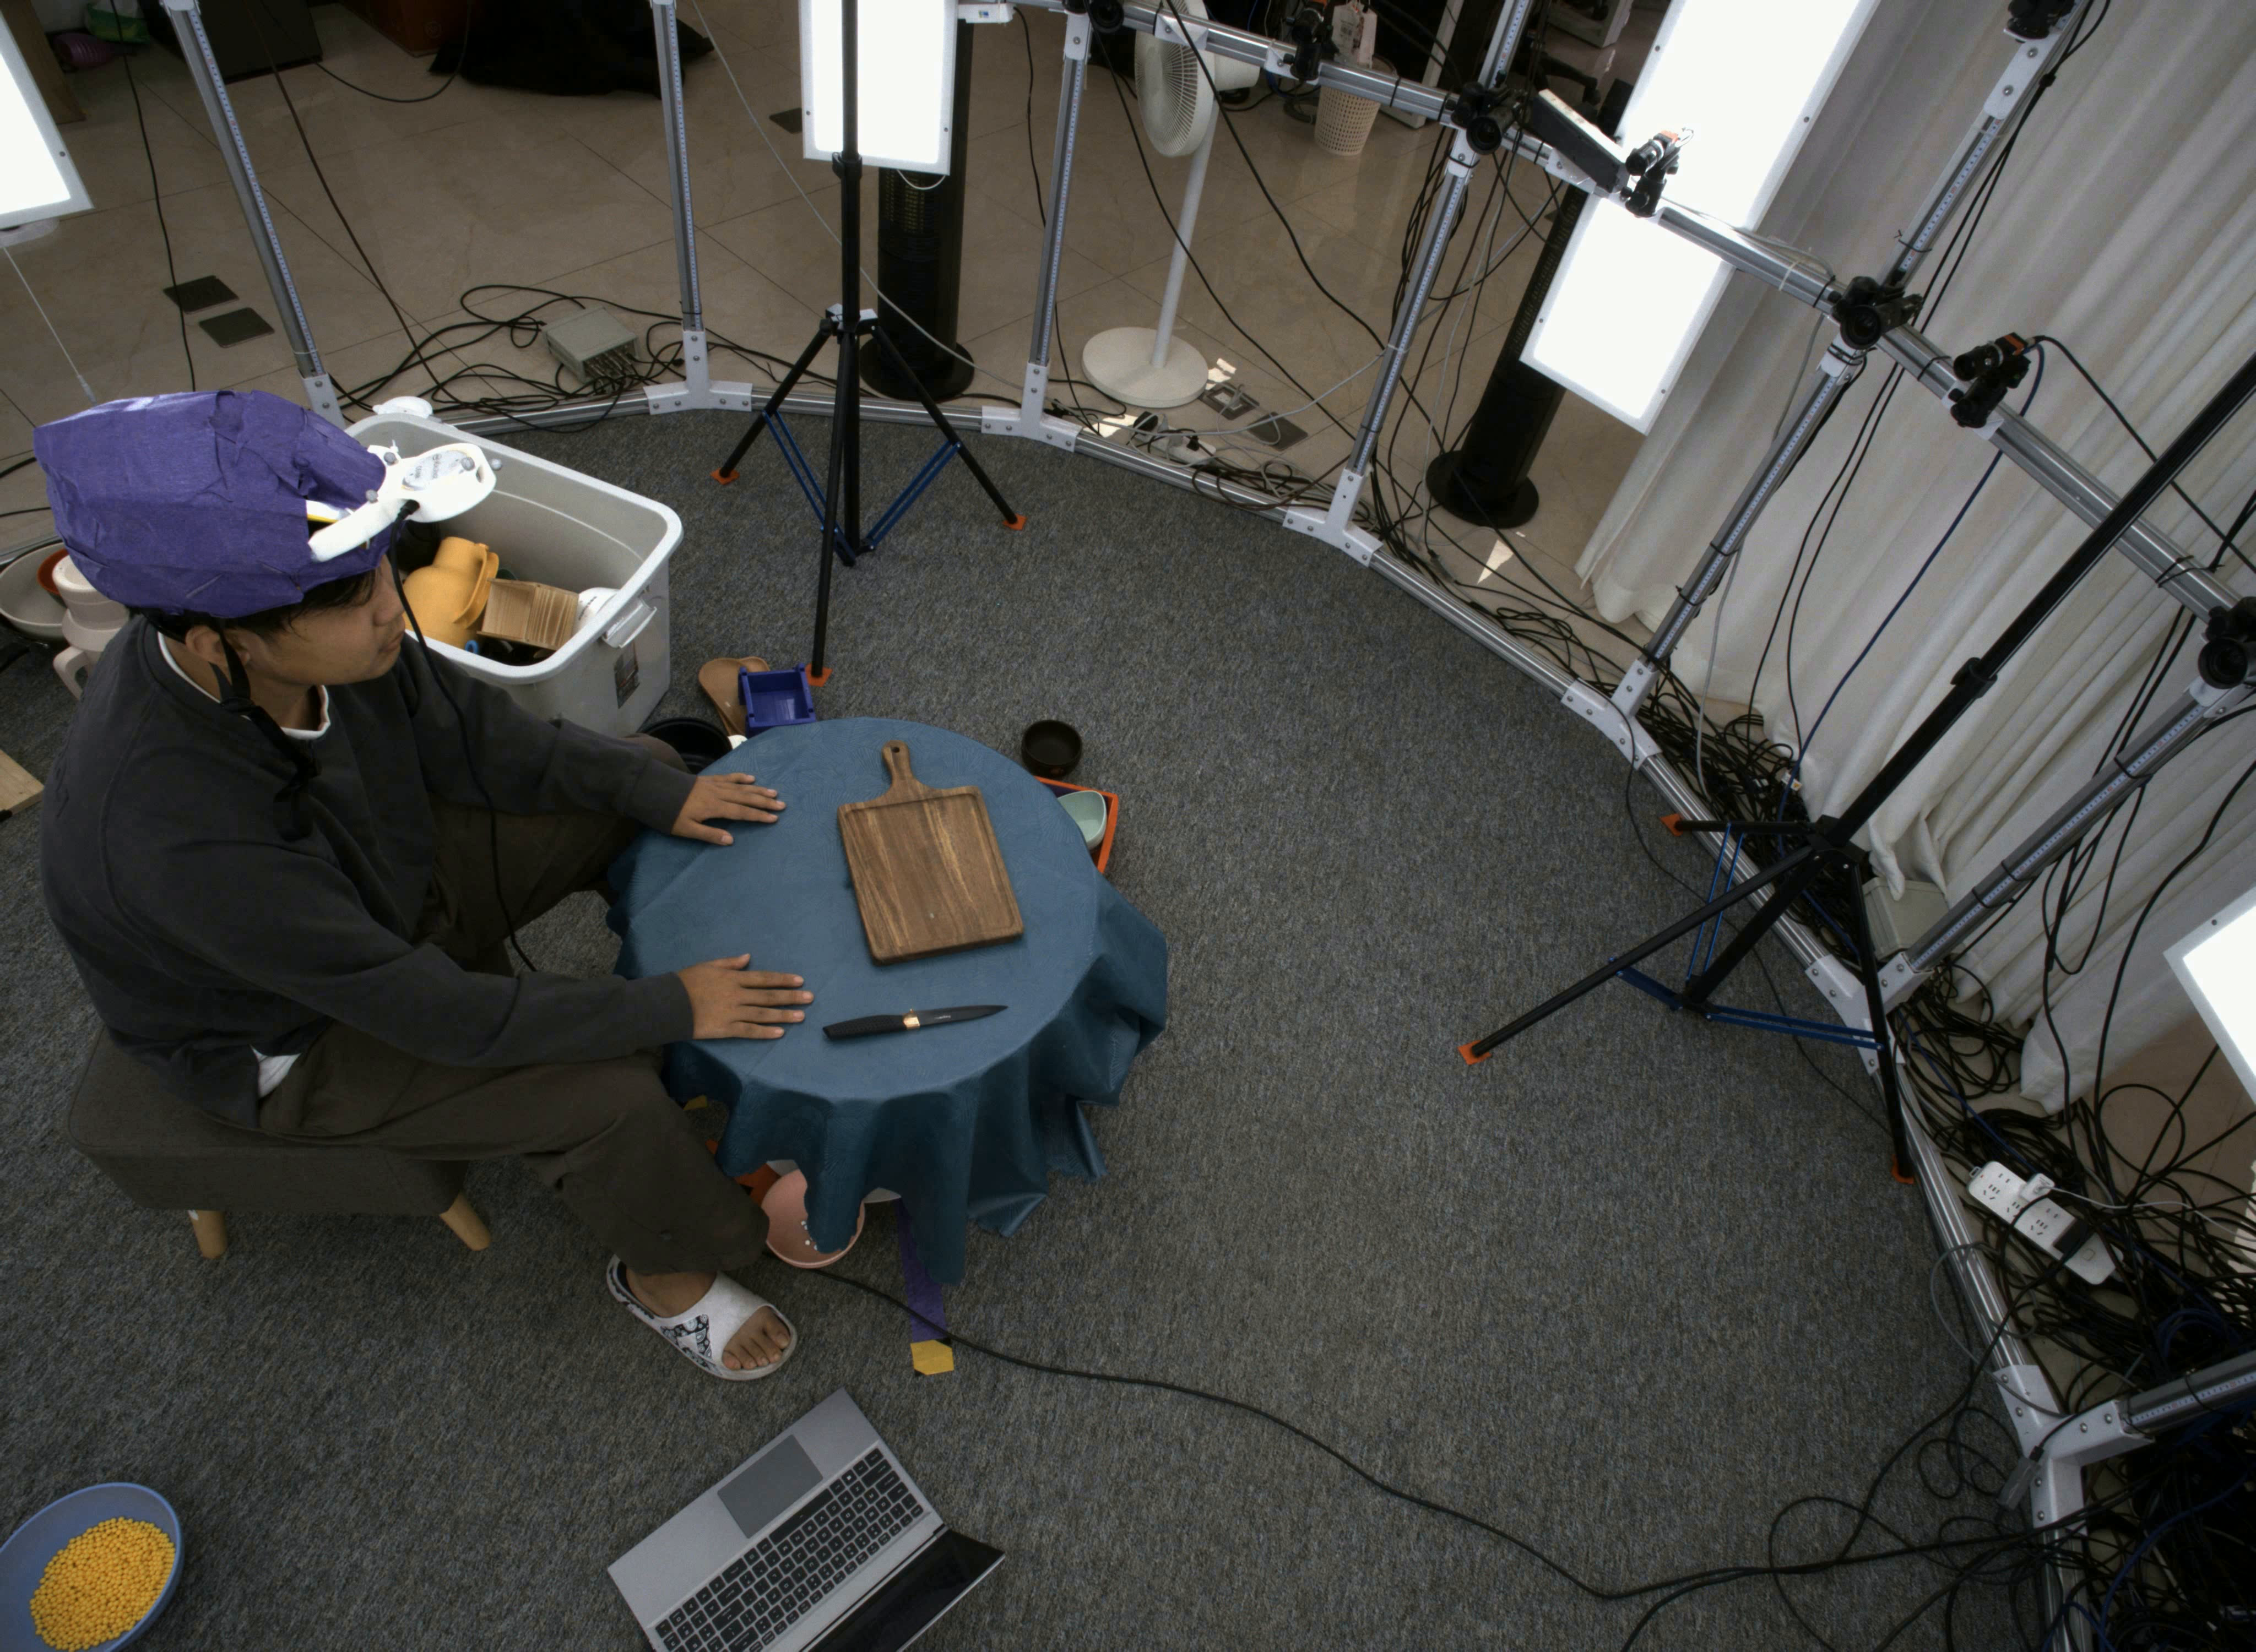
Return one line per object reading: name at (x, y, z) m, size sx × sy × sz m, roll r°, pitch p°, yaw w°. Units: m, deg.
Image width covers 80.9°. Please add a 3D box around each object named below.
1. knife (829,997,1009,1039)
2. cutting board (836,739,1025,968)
knife at (-0.252, 0.230, 1.584) m, size 0.226 × 0.017 × 0.025 m, roll -7°, pitch 49°, yaw -20°
cutting board at (-0.276, 0.020, 1.729) m, size 0.202 × 0.023 × 0.343 m, roll -9°, pitch 57°, yaw -20°
